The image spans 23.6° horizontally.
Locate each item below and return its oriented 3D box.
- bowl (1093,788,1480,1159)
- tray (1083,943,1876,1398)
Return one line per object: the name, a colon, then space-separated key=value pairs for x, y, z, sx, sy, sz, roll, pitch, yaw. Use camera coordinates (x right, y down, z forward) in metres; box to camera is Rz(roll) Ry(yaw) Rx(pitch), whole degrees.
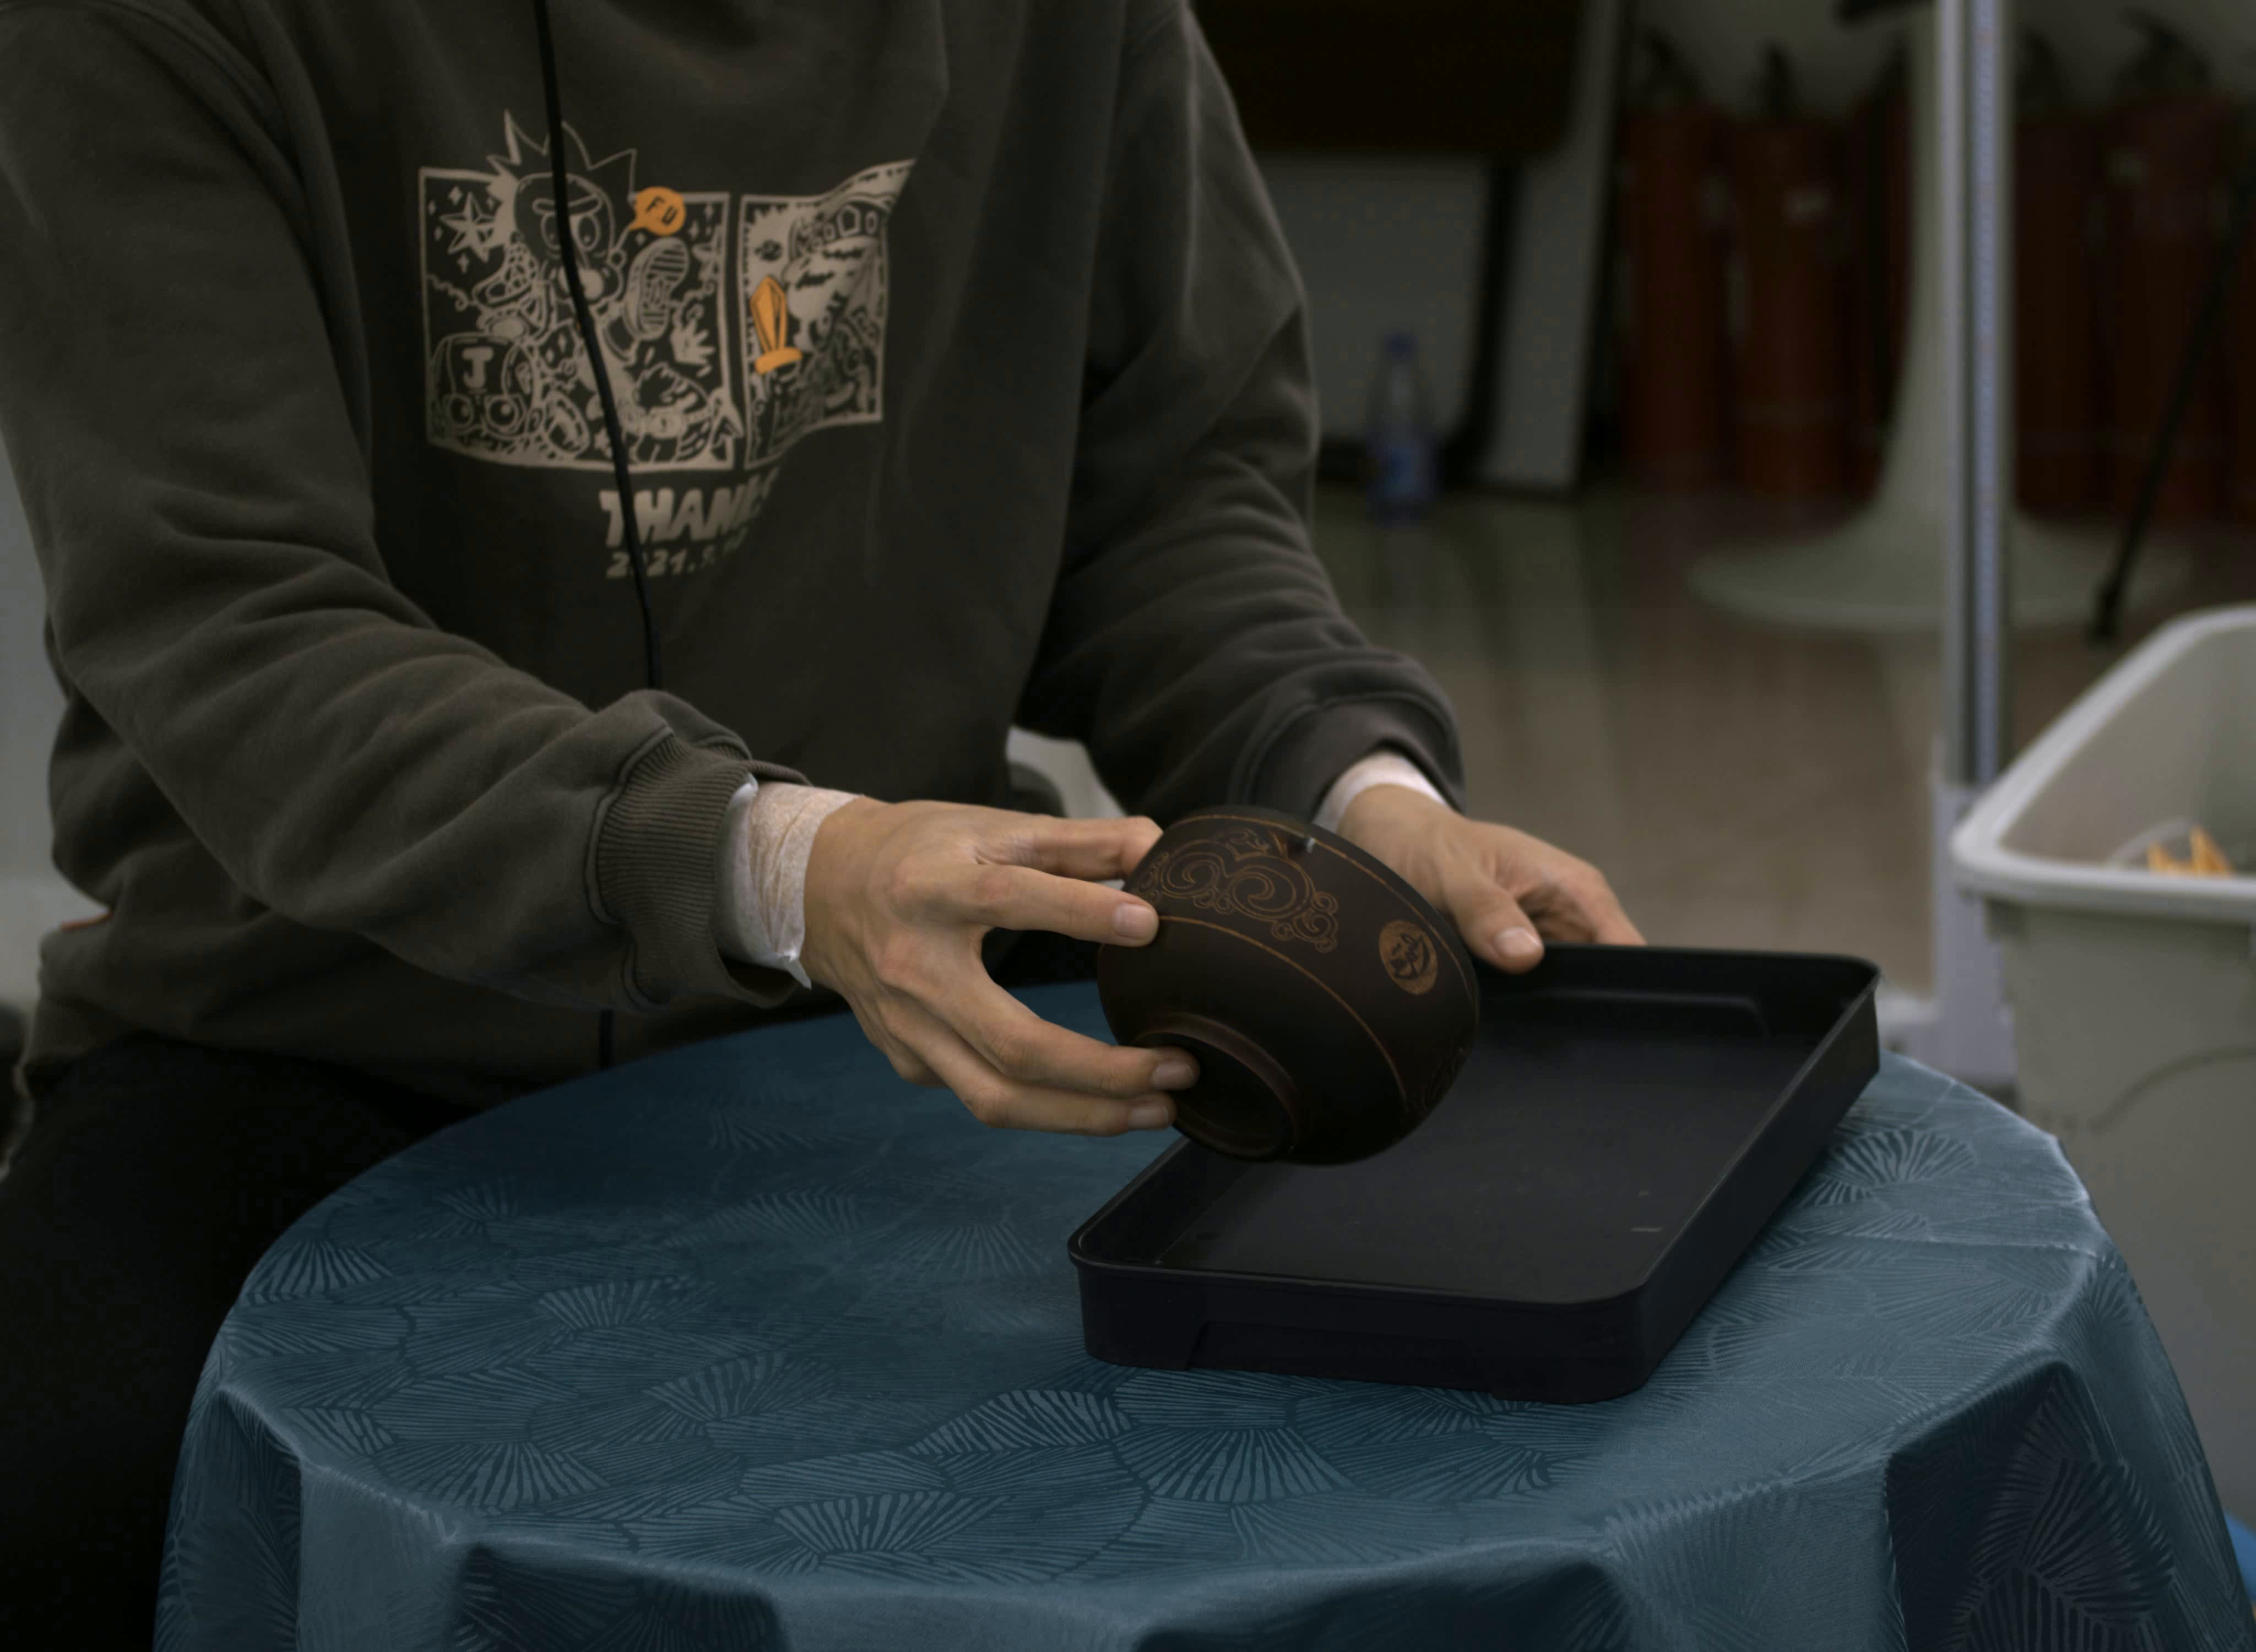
bowl: x=0.040 y=0.054 z=1.612 sx=0.119 sy=0.117 sz=0.069 roll=7 pitch=48 yaw=37
tray: x=0.120 y=0.103 z=1.715 sx=0.184 sy=0.037 sz=0.315 roll=0 pitch=17 yaw=22
